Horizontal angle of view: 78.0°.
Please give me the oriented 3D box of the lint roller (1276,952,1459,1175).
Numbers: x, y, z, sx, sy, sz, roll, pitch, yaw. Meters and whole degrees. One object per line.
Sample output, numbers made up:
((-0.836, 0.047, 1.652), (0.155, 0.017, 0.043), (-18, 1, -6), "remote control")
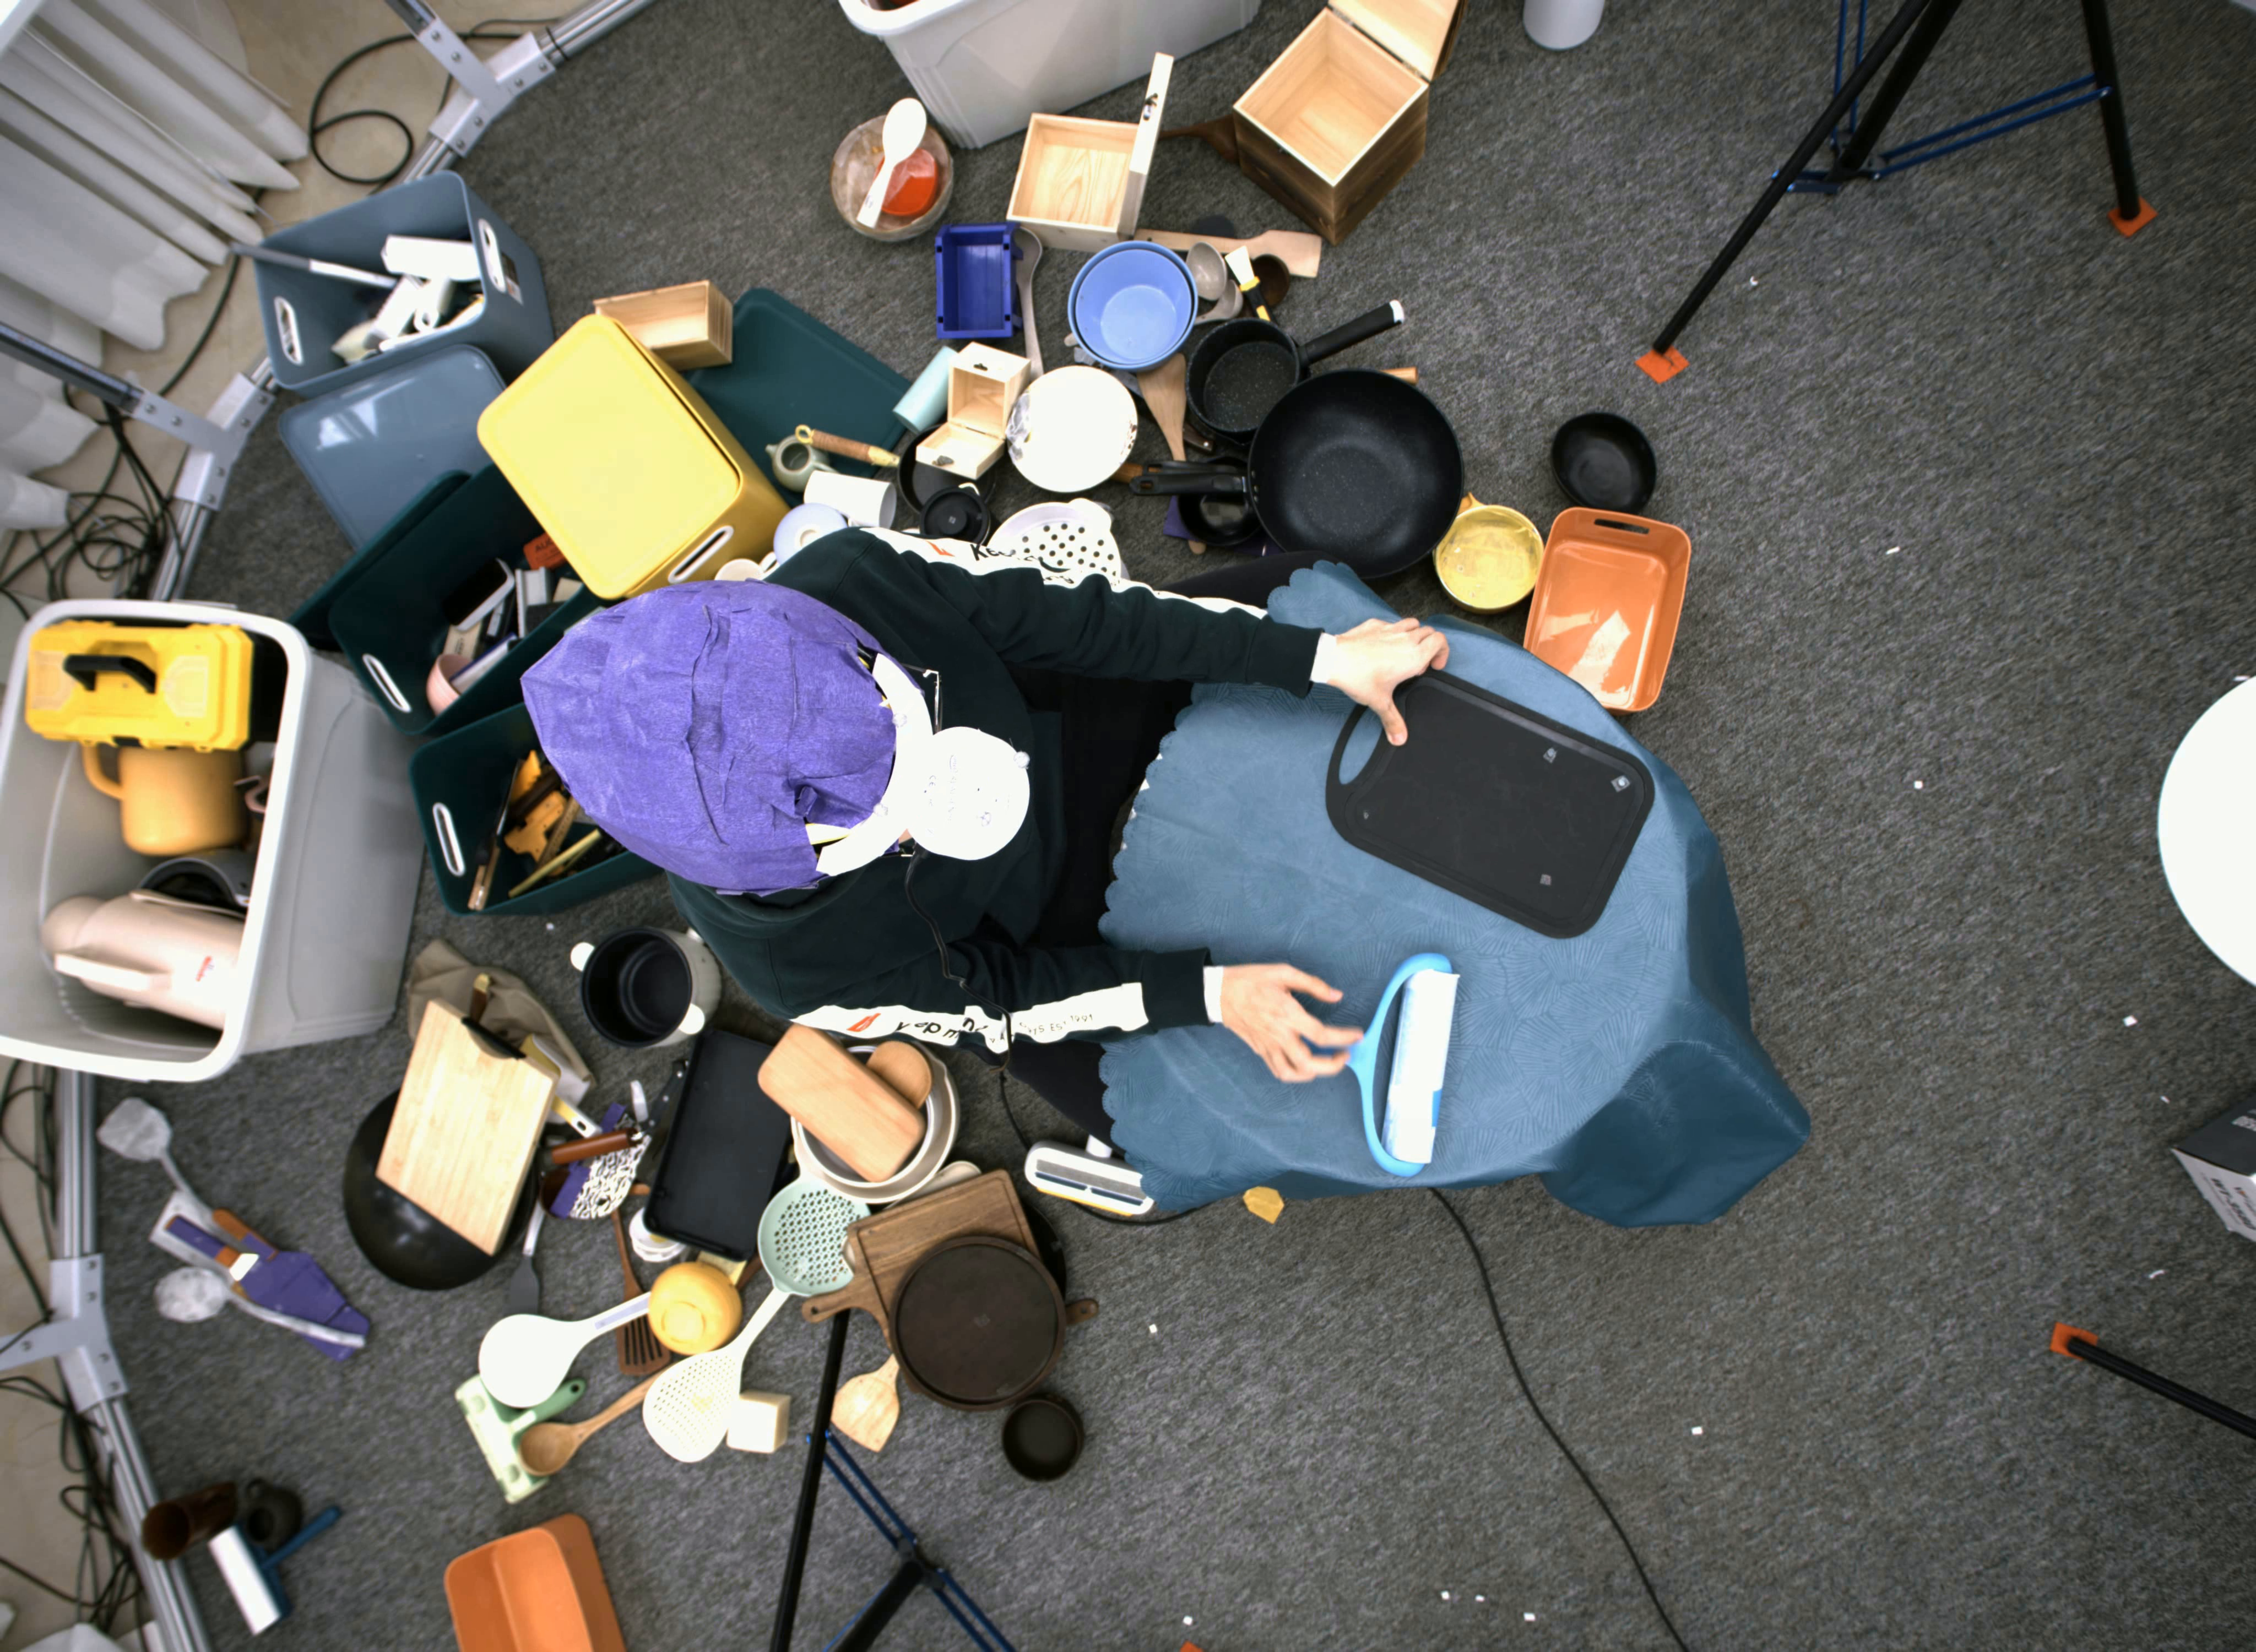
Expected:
((0.241, 0.236, 1.424), (0.181, 0.068, 0.228), (6, 90, 9), "lint roller")

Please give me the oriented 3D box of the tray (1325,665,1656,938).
((0.370, -0.033, 1.439), (0.325, 0.010, 0.211), (26, 92, 11), "tray")
